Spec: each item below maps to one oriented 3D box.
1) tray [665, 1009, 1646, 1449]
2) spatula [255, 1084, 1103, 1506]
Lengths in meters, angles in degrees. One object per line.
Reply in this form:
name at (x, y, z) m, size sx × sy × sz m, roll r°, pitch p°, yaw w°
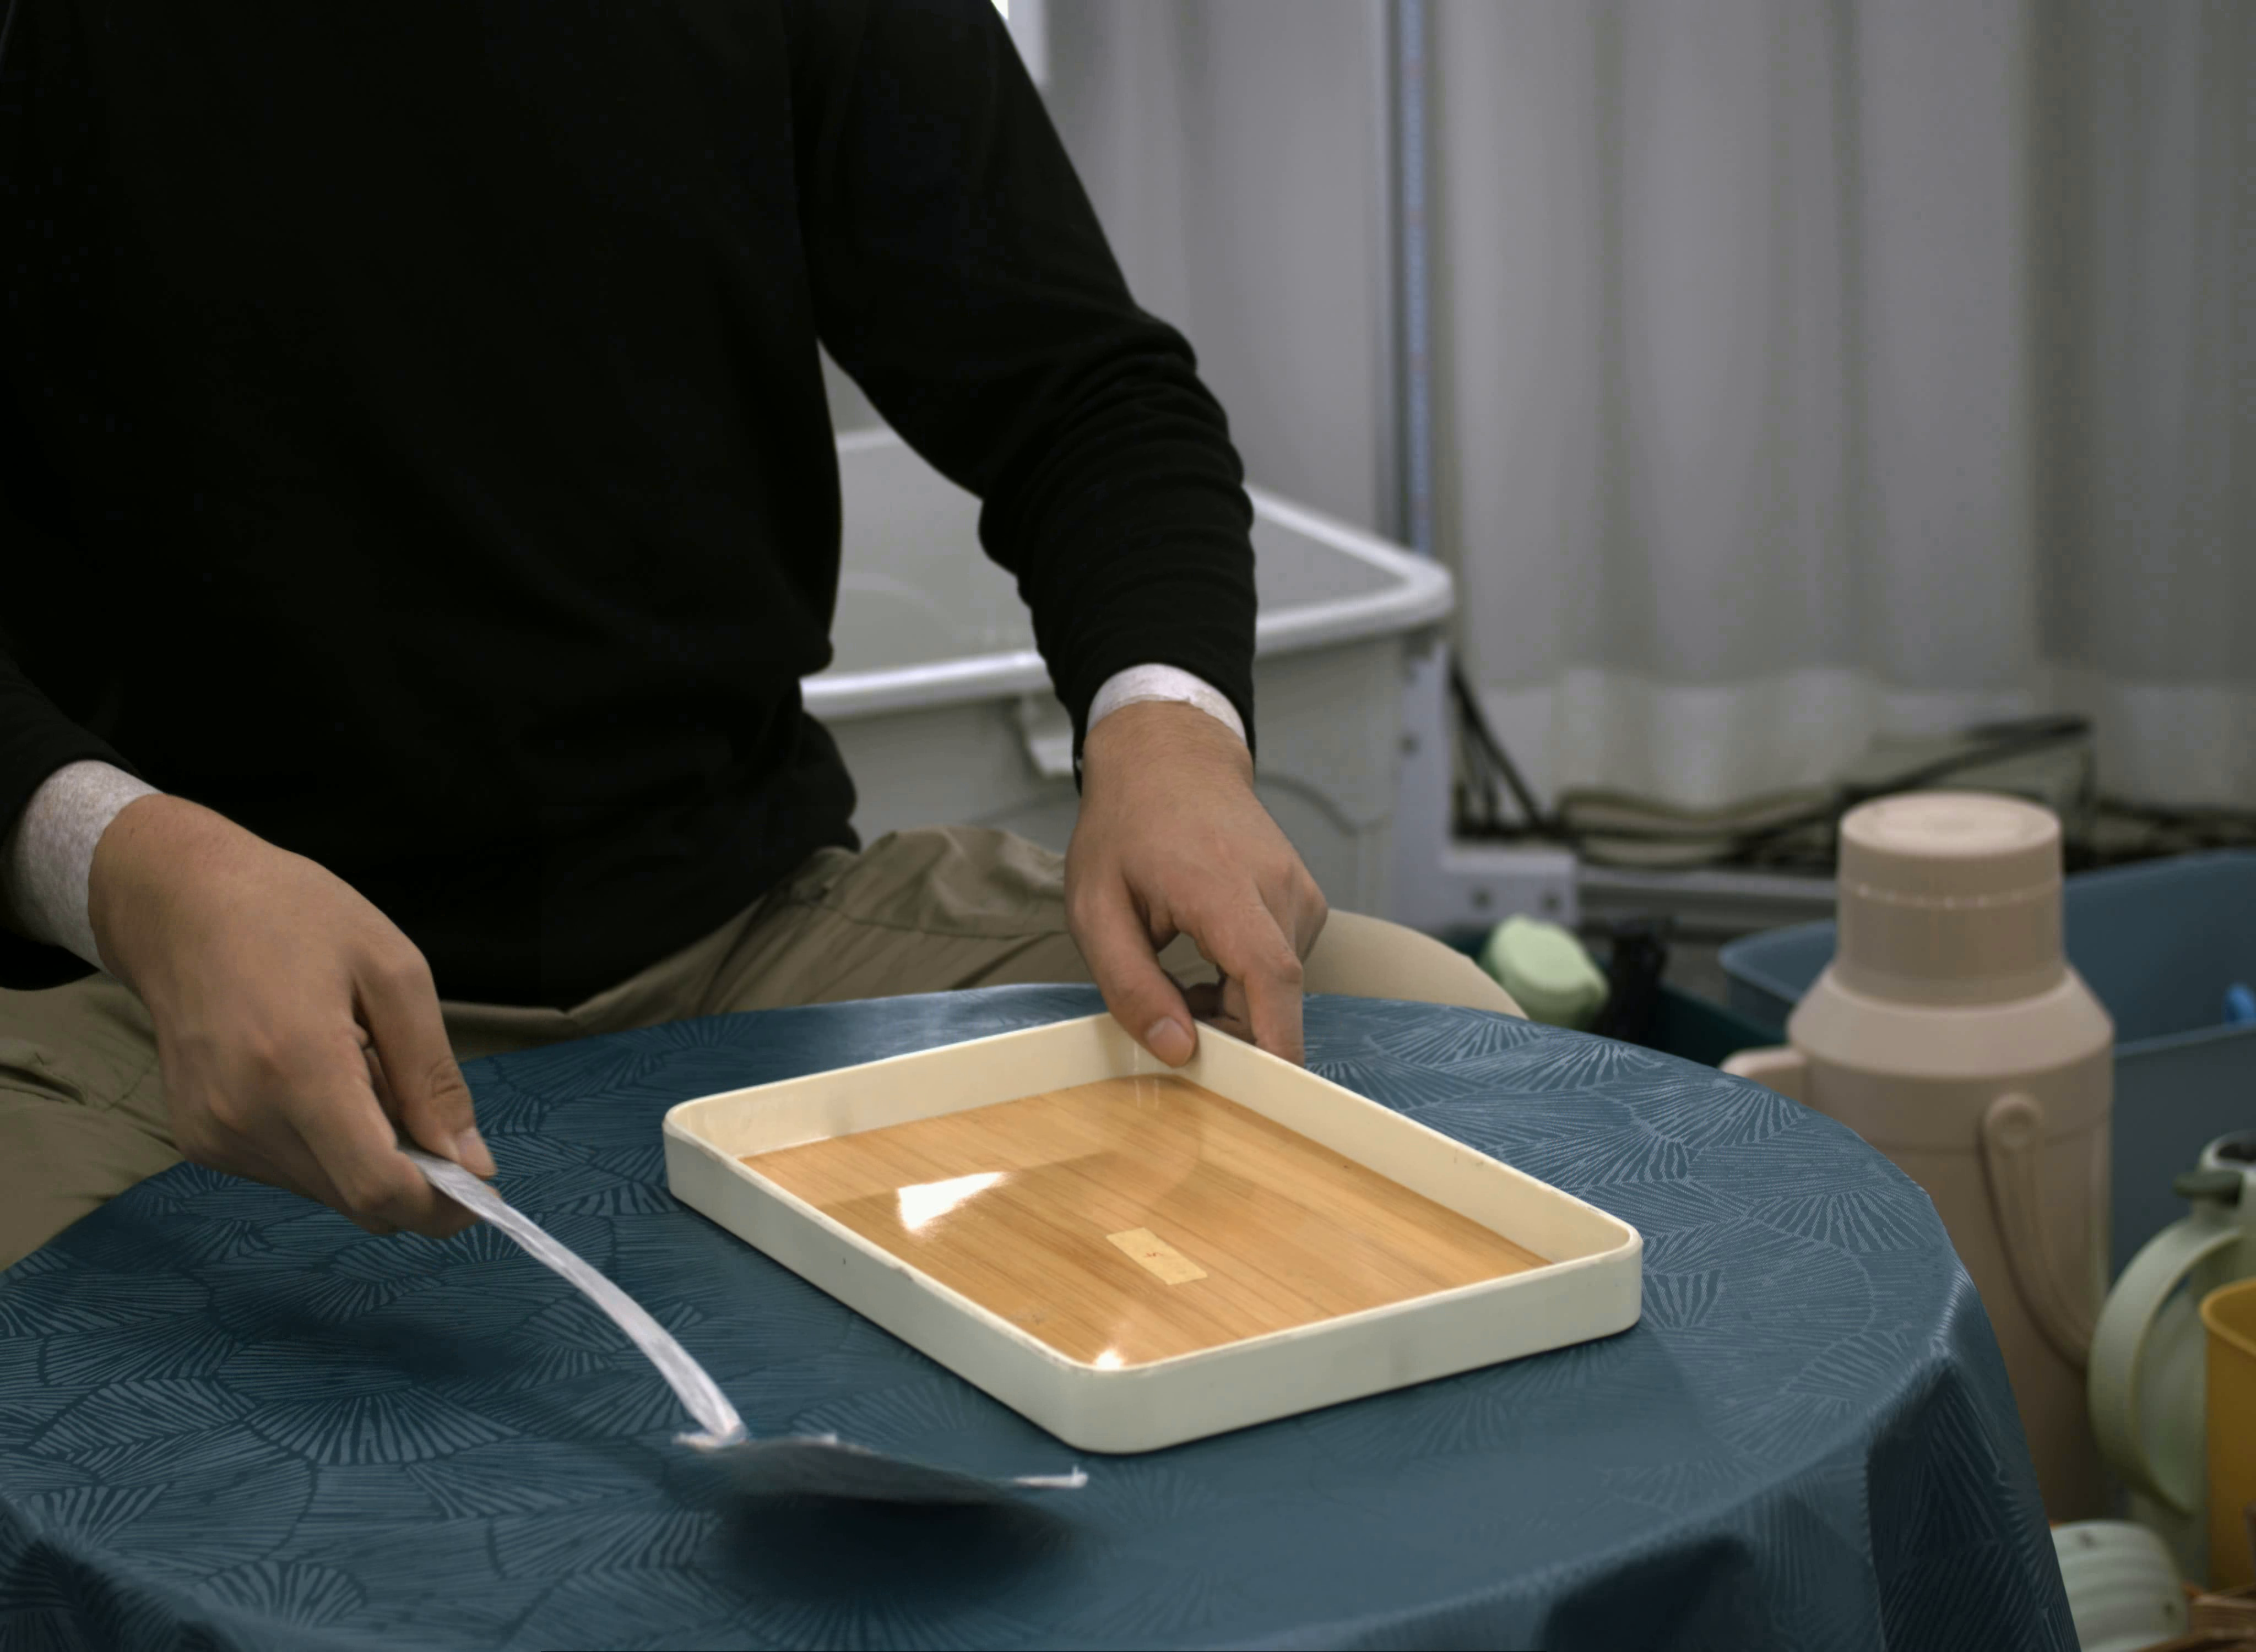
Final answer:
tray at (0.002, 0.117, 1.653) m, size 0.191 × 0.027 × 0.302 m, roll -11°, pitch 17°, yaw -27°
spatula at (-0.149, 0.124, 1.534) m, size 0.098 × 0.045 × 0.368 m, roll 11°, pitch 13°, yaw -43°
